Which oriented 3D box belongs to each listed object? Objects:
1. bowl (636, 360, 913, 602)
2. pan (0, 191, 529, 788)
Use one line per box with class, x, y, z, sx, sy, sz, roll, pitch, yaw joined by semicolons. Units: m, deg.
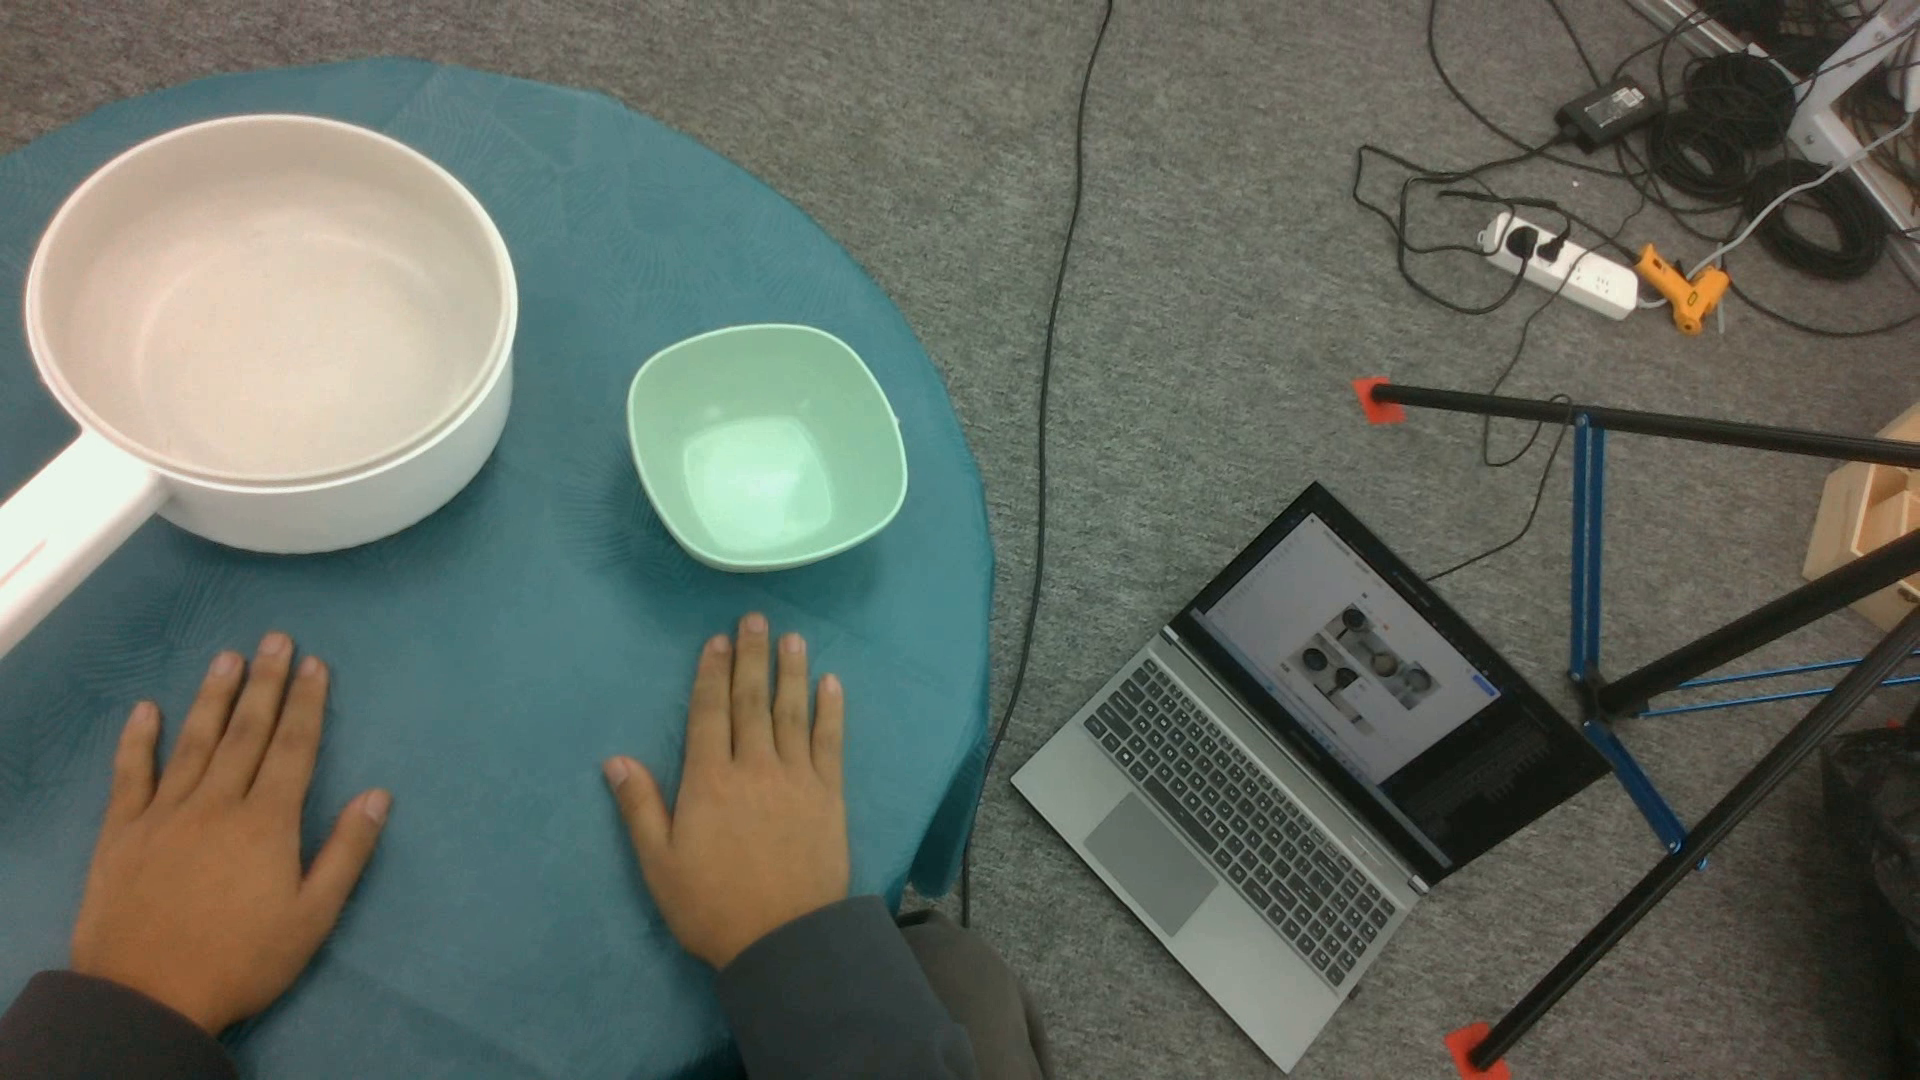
bowl;-0.103;-0.023;0.747;0.151;0.058;0.152;7;60;-11
pan;-0.352;-0.006;0.651;0.201;0.101;0.356;29;61;-1
